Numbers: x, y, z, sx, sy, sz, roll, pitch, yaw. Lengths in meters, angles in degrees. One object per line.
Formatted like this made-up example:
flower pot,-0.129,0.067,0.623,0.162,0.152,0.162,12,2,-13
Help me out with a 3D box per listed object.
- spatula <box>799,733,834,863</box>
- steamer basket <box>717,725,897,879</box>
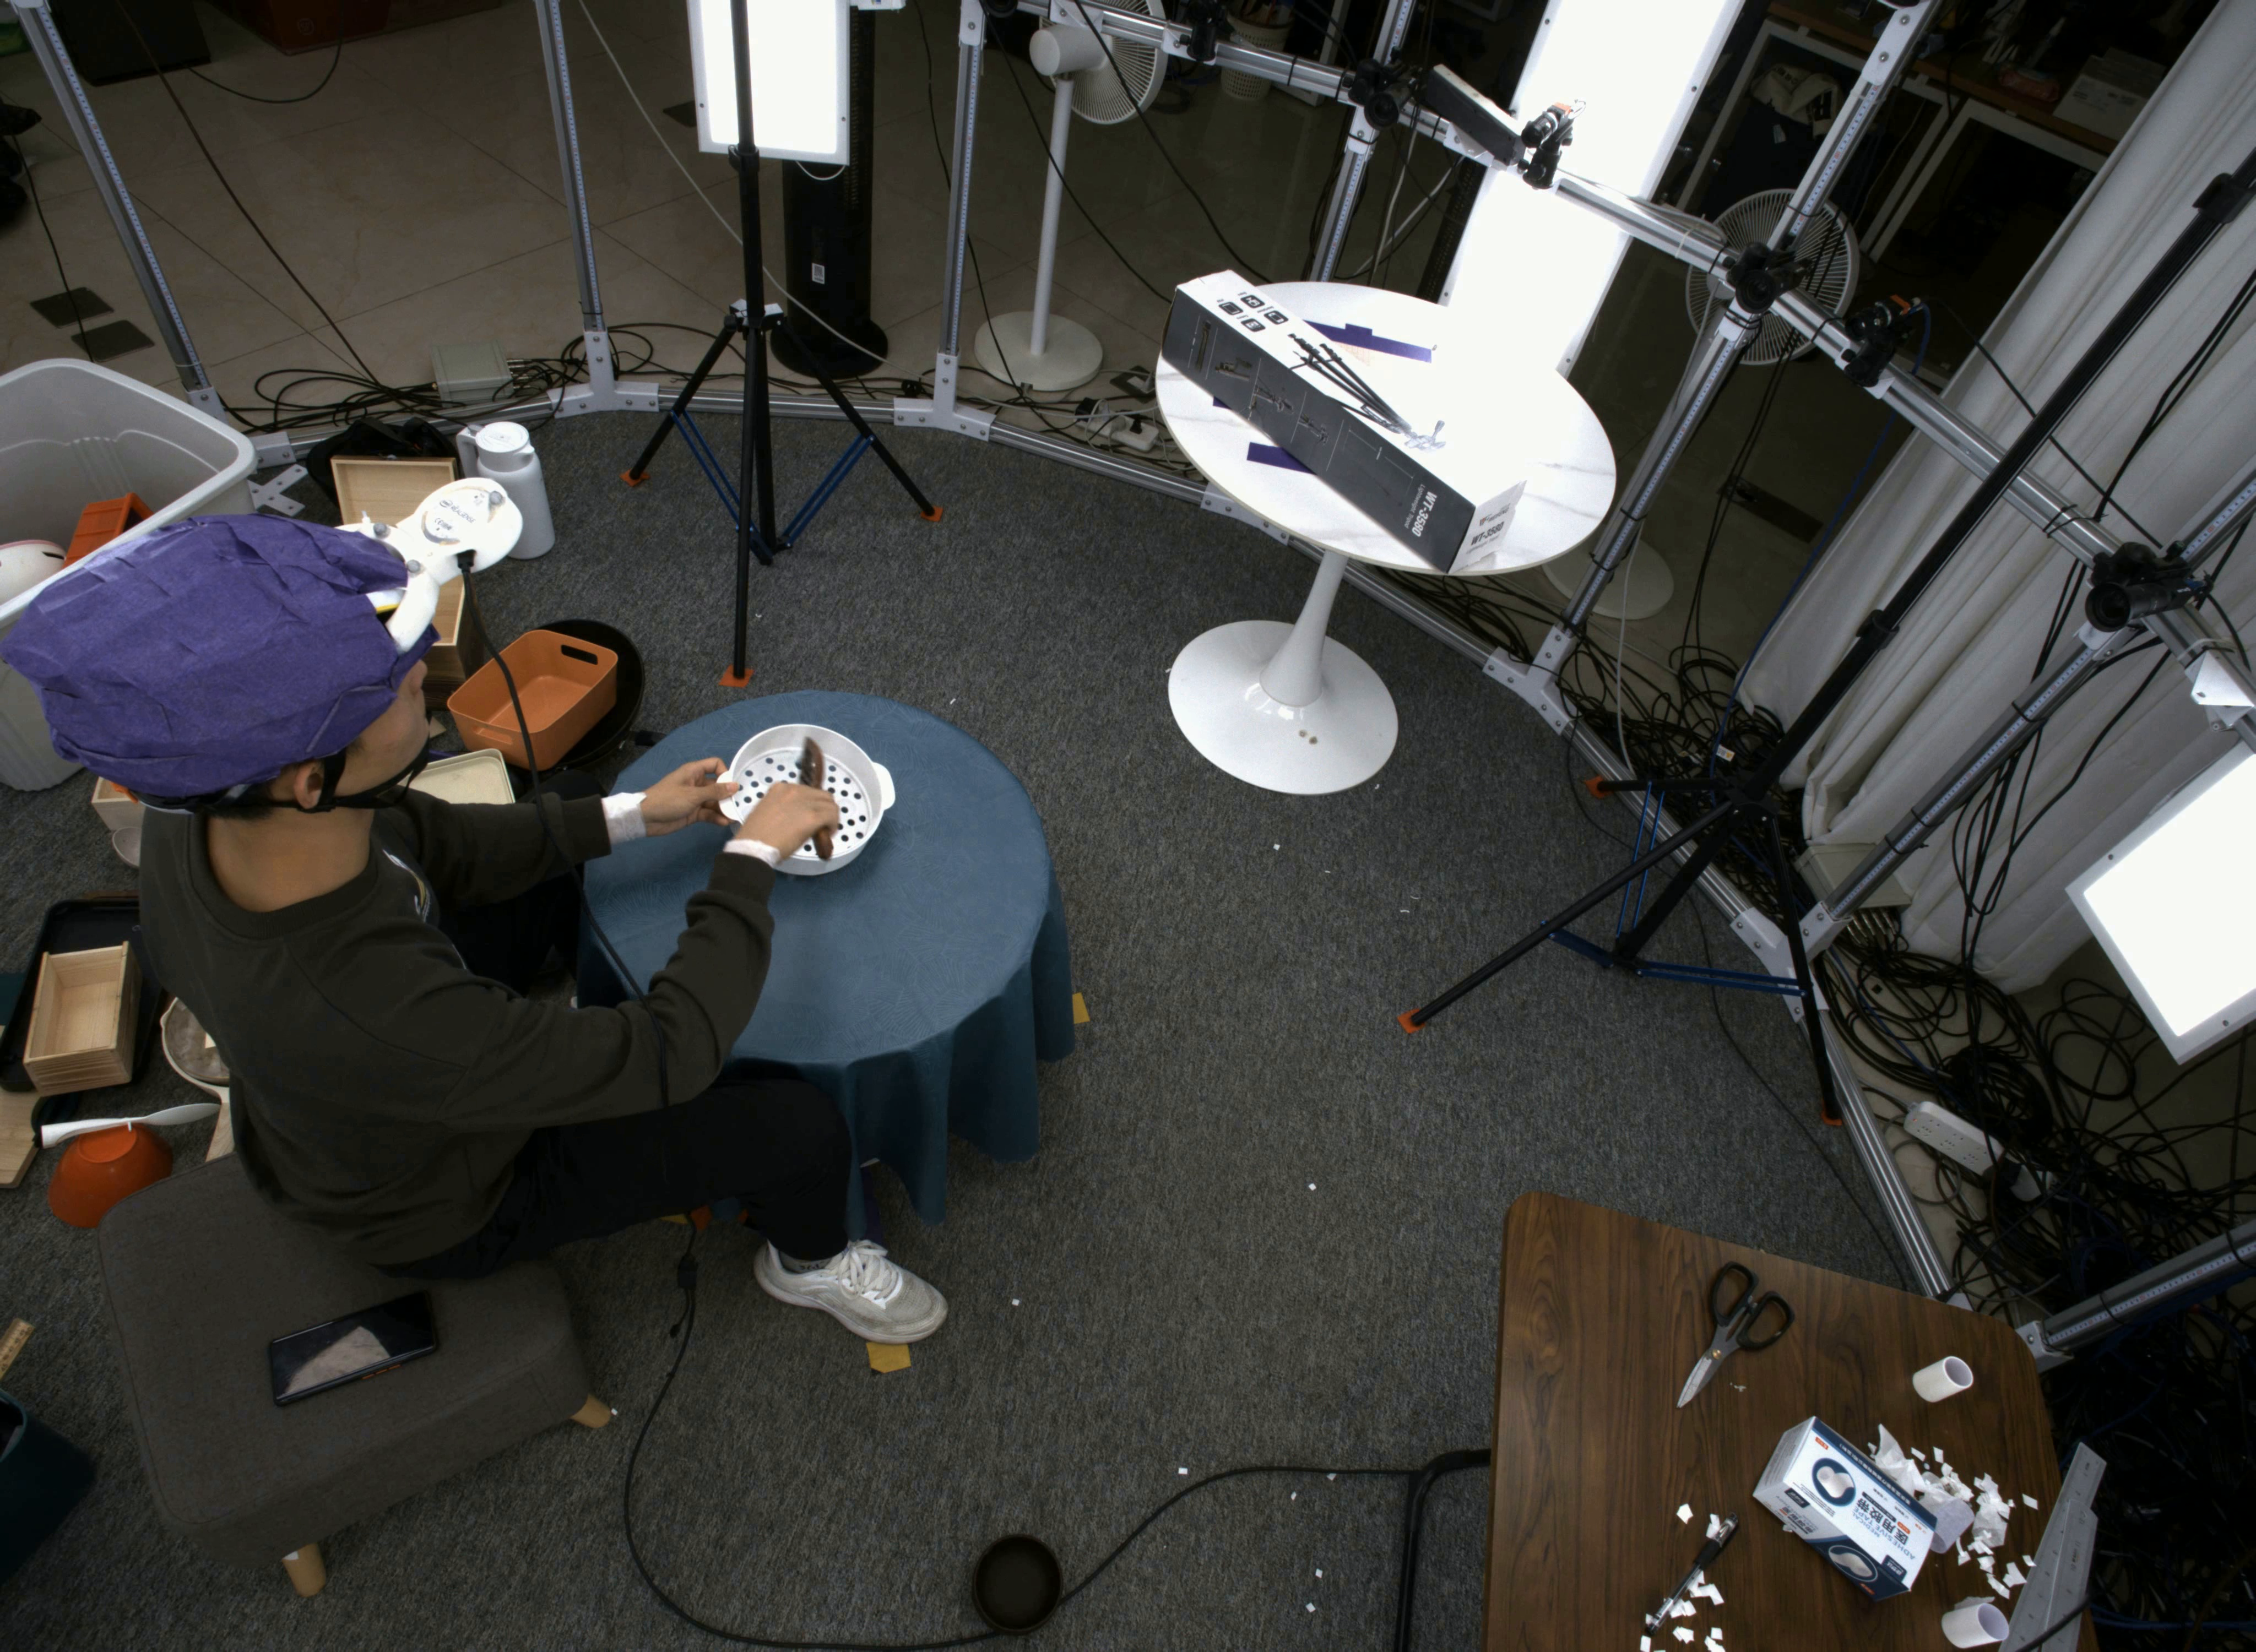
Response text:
spatula,-0.371,-0.028,1.553,0.024,0.087,0.374,9,15,-19
steamer basket,-0.421,-0.032,1.699,0.232,0.069,0.199,-7,65,-26
